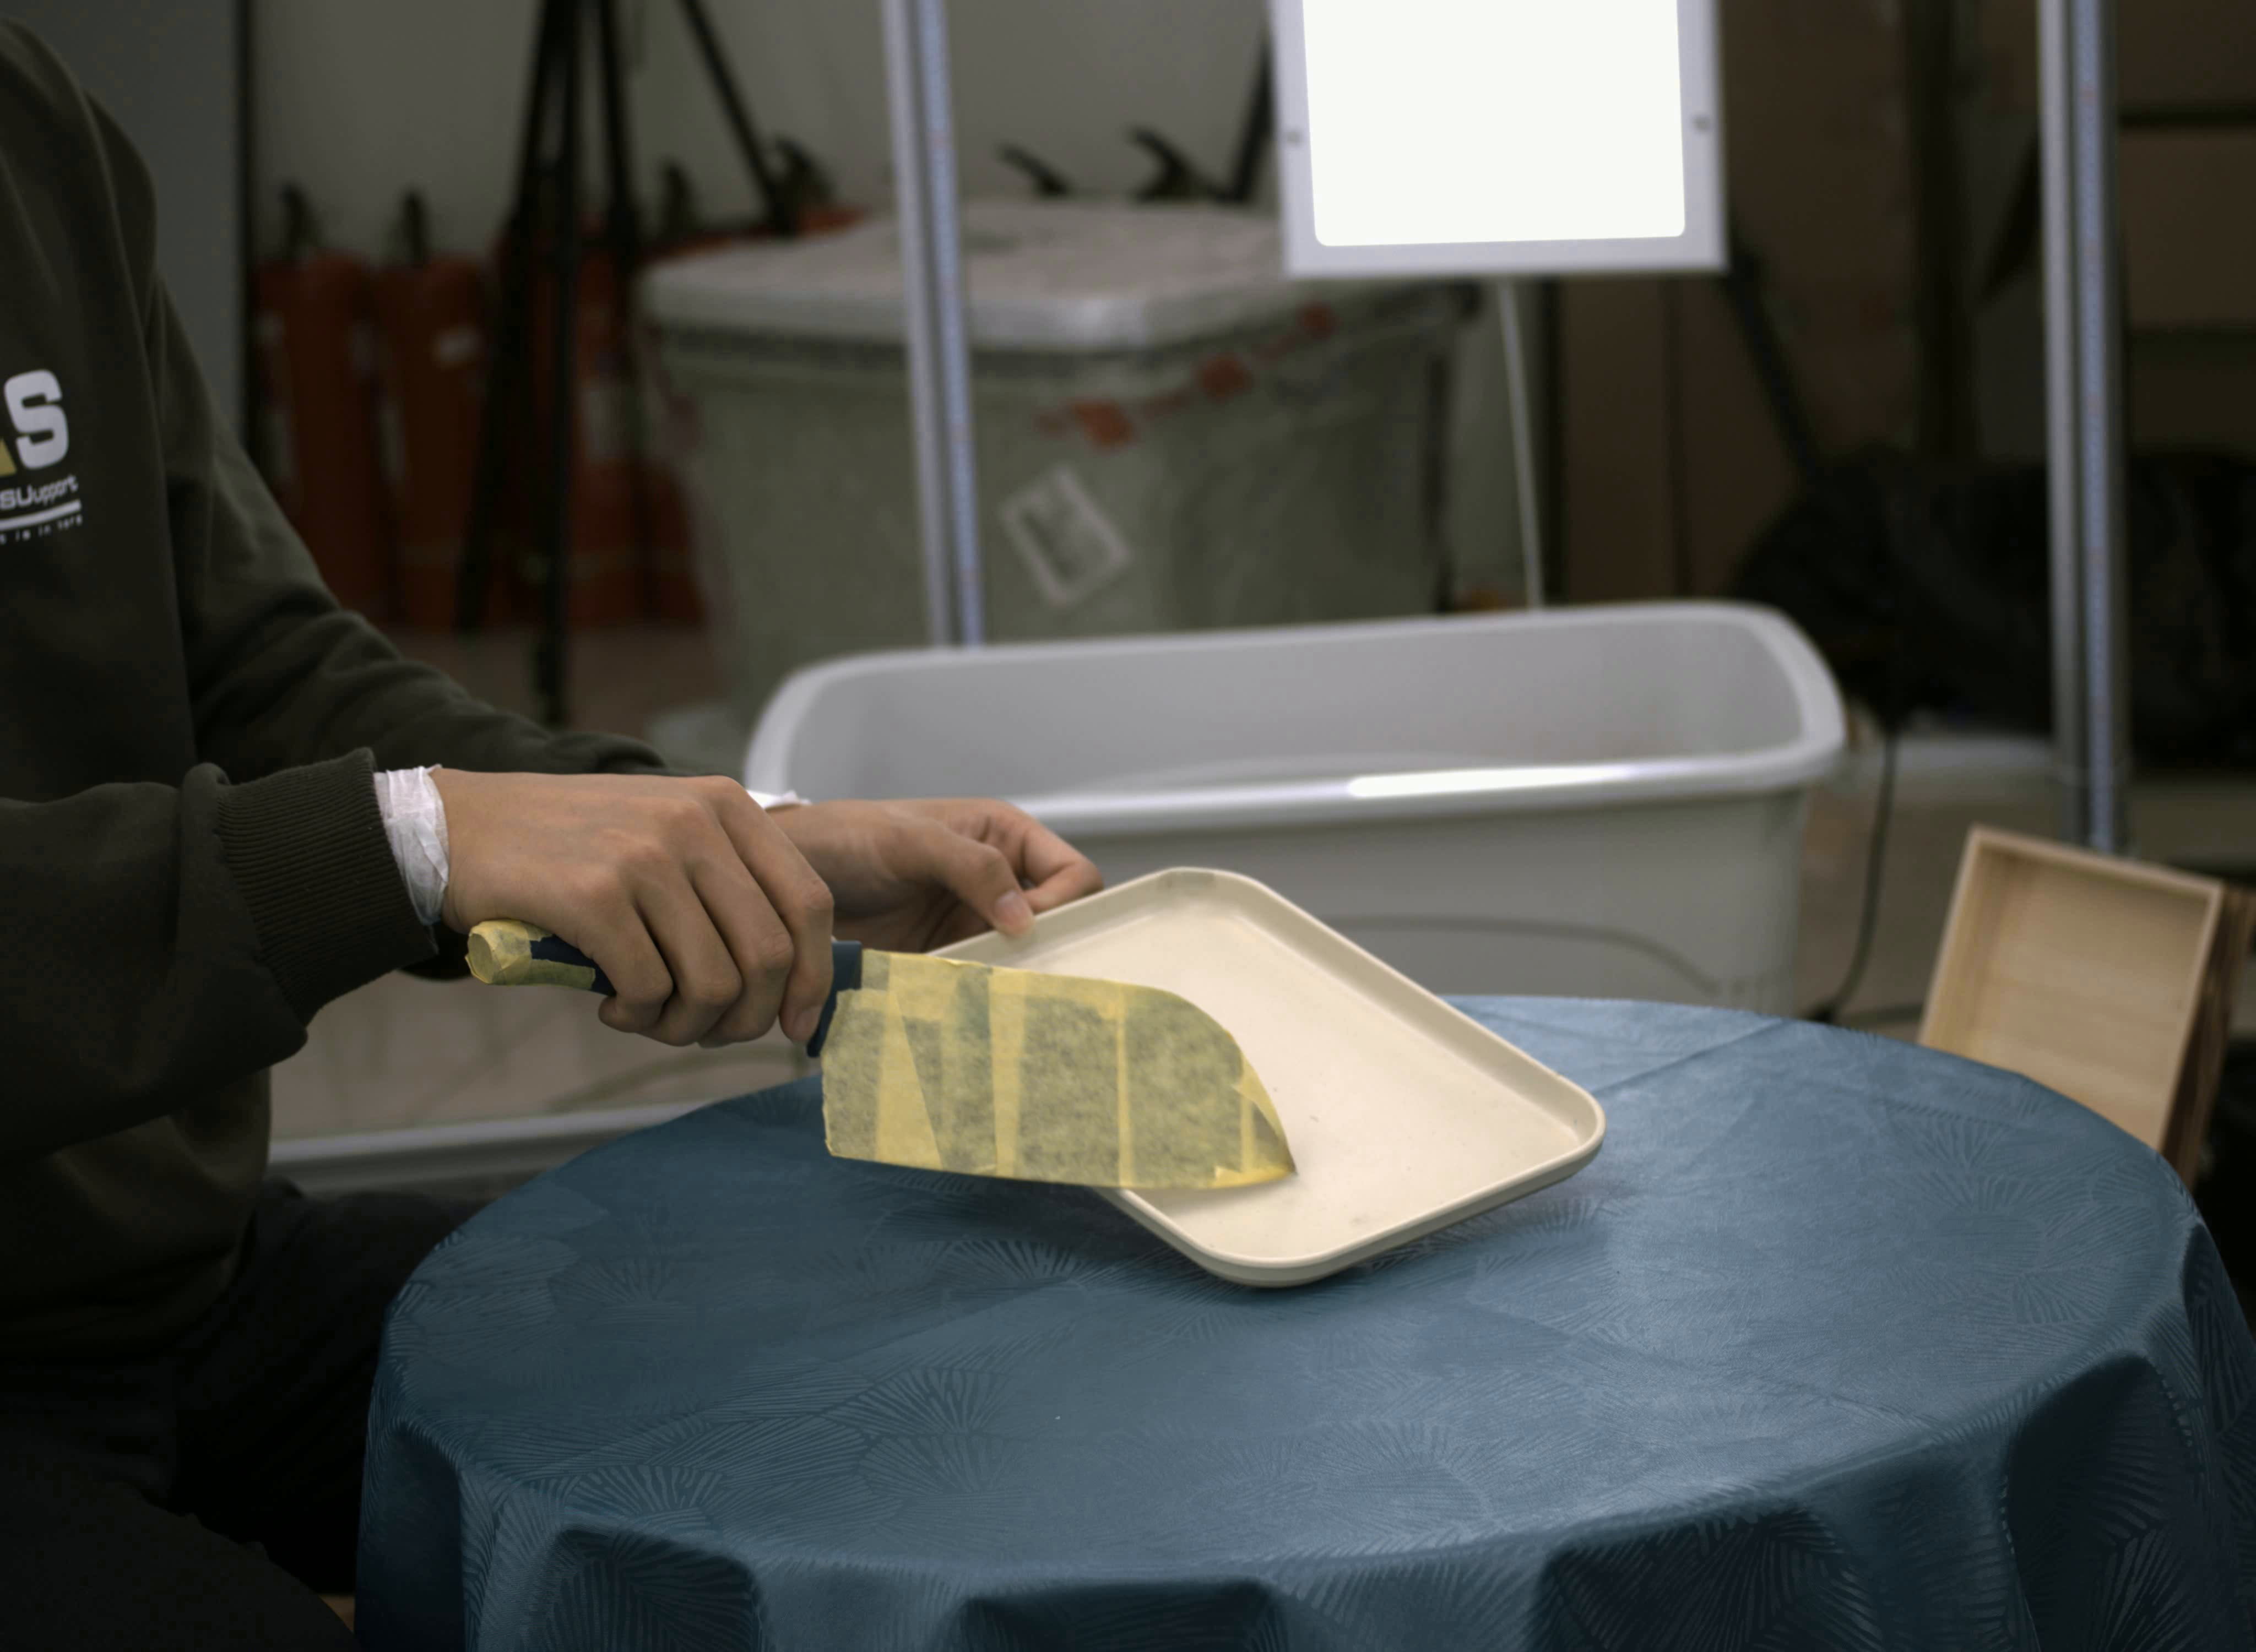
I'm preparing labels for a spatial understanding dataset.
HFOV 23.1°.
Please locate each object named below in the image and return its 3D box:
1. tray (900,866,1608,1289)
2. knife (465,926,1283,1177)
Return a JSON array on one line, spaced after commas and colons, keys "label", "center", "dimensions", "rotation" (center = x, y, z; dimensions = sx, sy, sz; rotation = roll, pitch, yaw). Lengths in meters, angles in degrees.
[{"label": "tray", "center": [0.036, 0.085, 1.895], "dimensions": [0.167, 0.017, 0.244], "rotation": [-20, 34, -31]}, {"label": "knife", "center": [-0.079, 0.074, 1.800], "dimensions": [0.284, 0.081, 0.028], "rotation": [9, -24, -20]}]
